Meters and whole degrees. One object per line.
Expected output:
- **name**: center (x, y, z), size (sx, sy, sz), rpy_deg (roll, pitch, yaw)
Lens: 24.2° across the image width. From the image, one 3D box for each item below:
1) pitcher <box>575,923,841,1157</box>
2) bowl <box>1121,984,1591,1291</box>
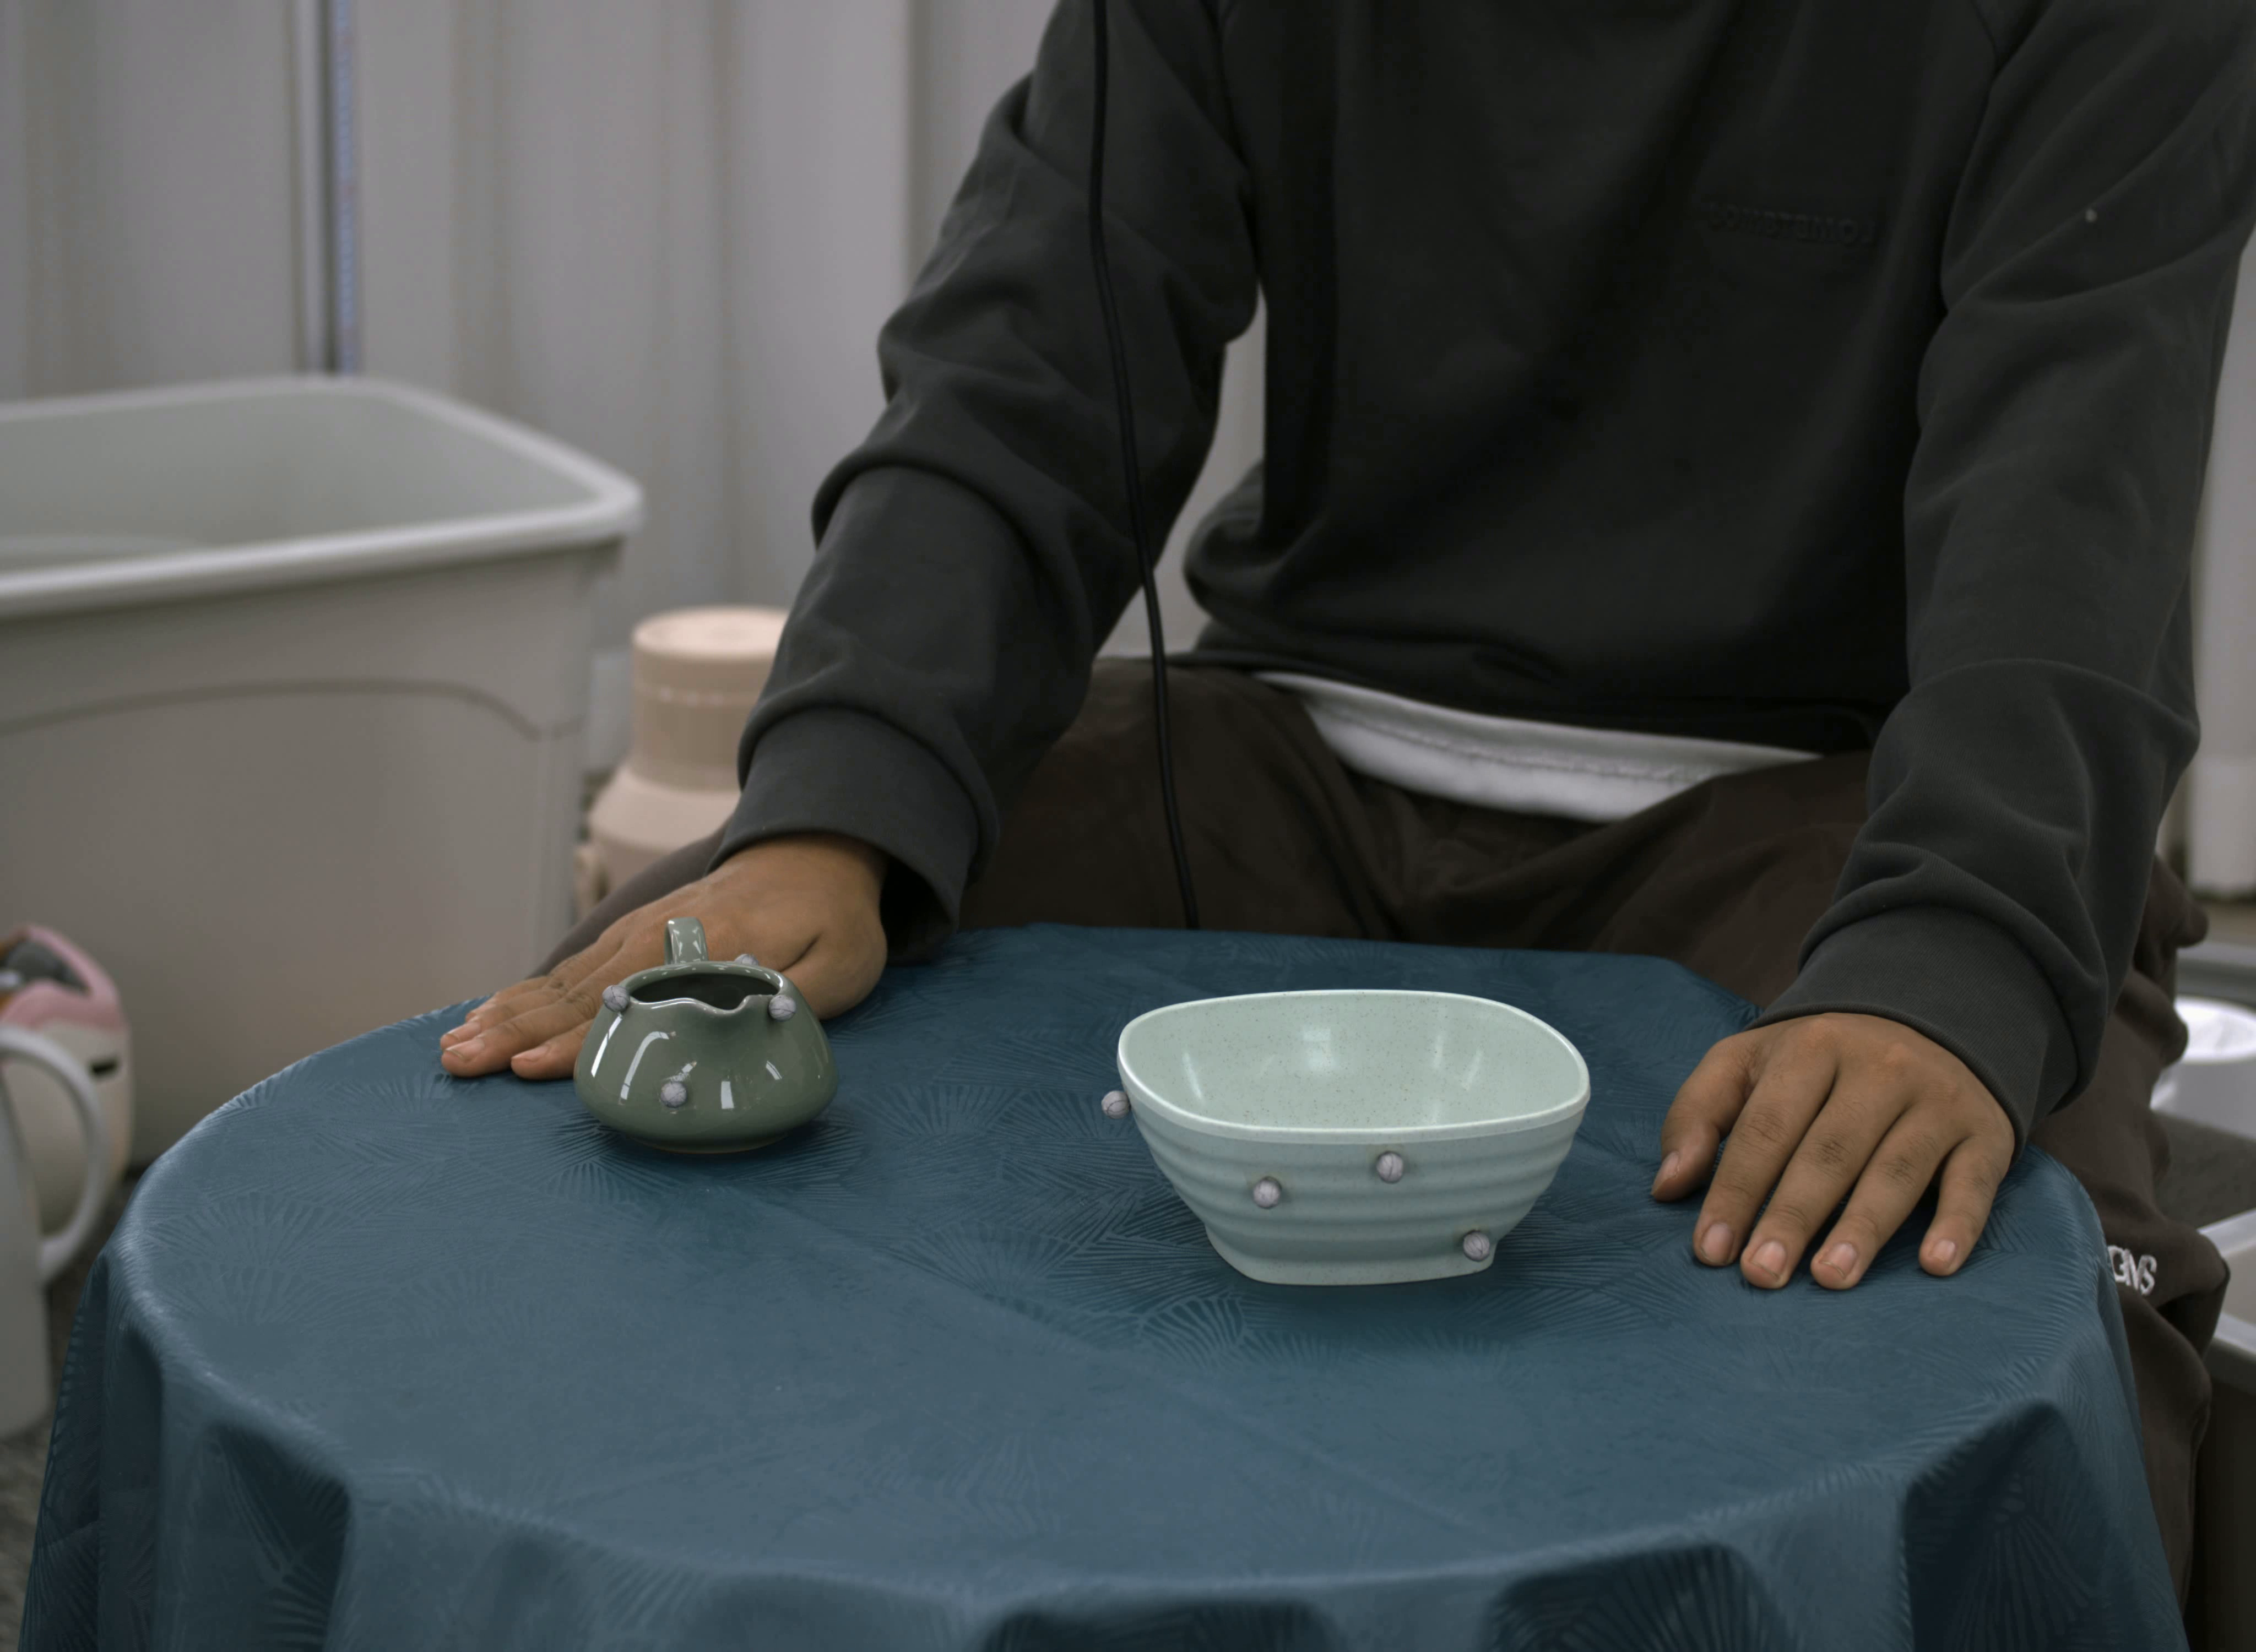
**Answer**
- **pitcher**: center (-0.135, 0.069, 1.676), size (0.084, 0.056, 0.111), rpy_deg (-3, 15, -14)
- **bowl**: center (0.068, 0.097, 1.582), size (0.151, 0.059, 0.150), rpy_deg (1, 17, 0)
